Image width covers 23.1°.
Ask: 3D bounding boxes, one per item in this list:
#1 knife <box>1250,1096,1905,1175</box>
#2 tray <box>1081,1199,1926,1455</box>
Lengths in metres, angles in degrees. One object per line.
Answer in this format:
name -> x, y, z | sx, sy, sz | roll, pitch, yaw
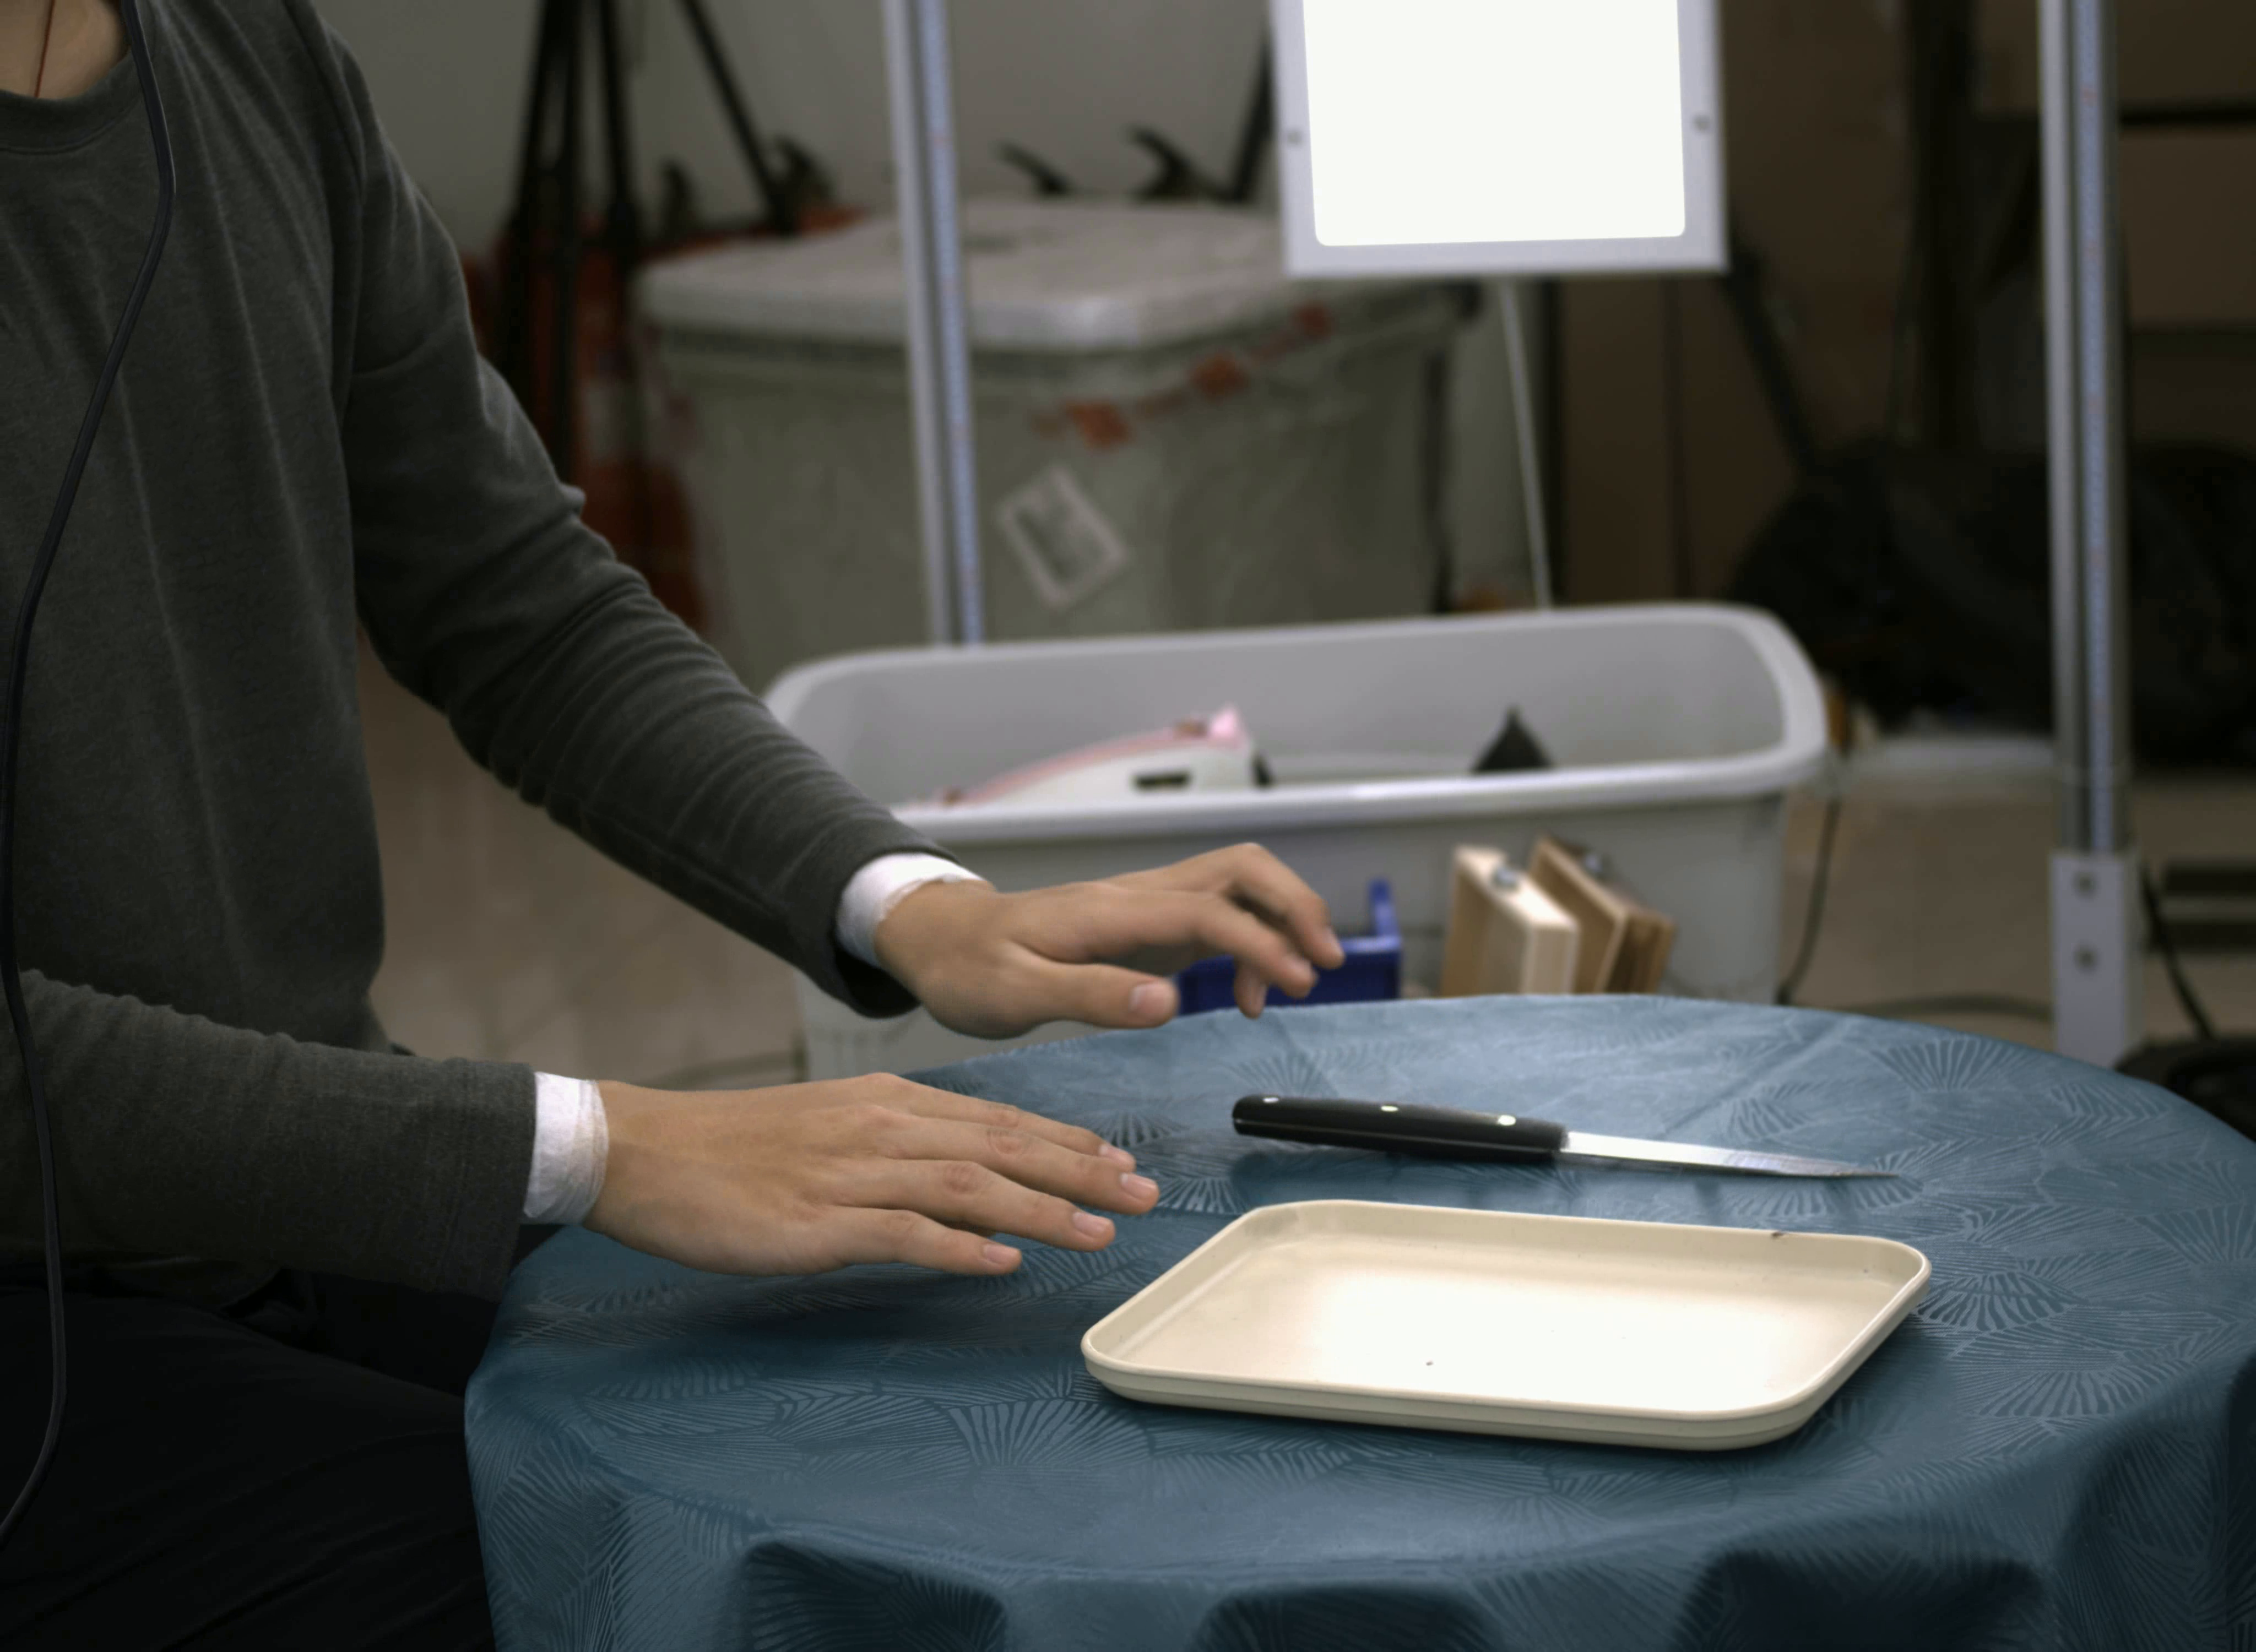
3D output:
knife -> 0.152, 0.110, 1.892 | 0.242, 0.016, 0.024 | 4, 16, 23
tray -> 0.118, 0.154, 1.707 | 0.244, 0.017, 0.167 | 2, 16, 28
